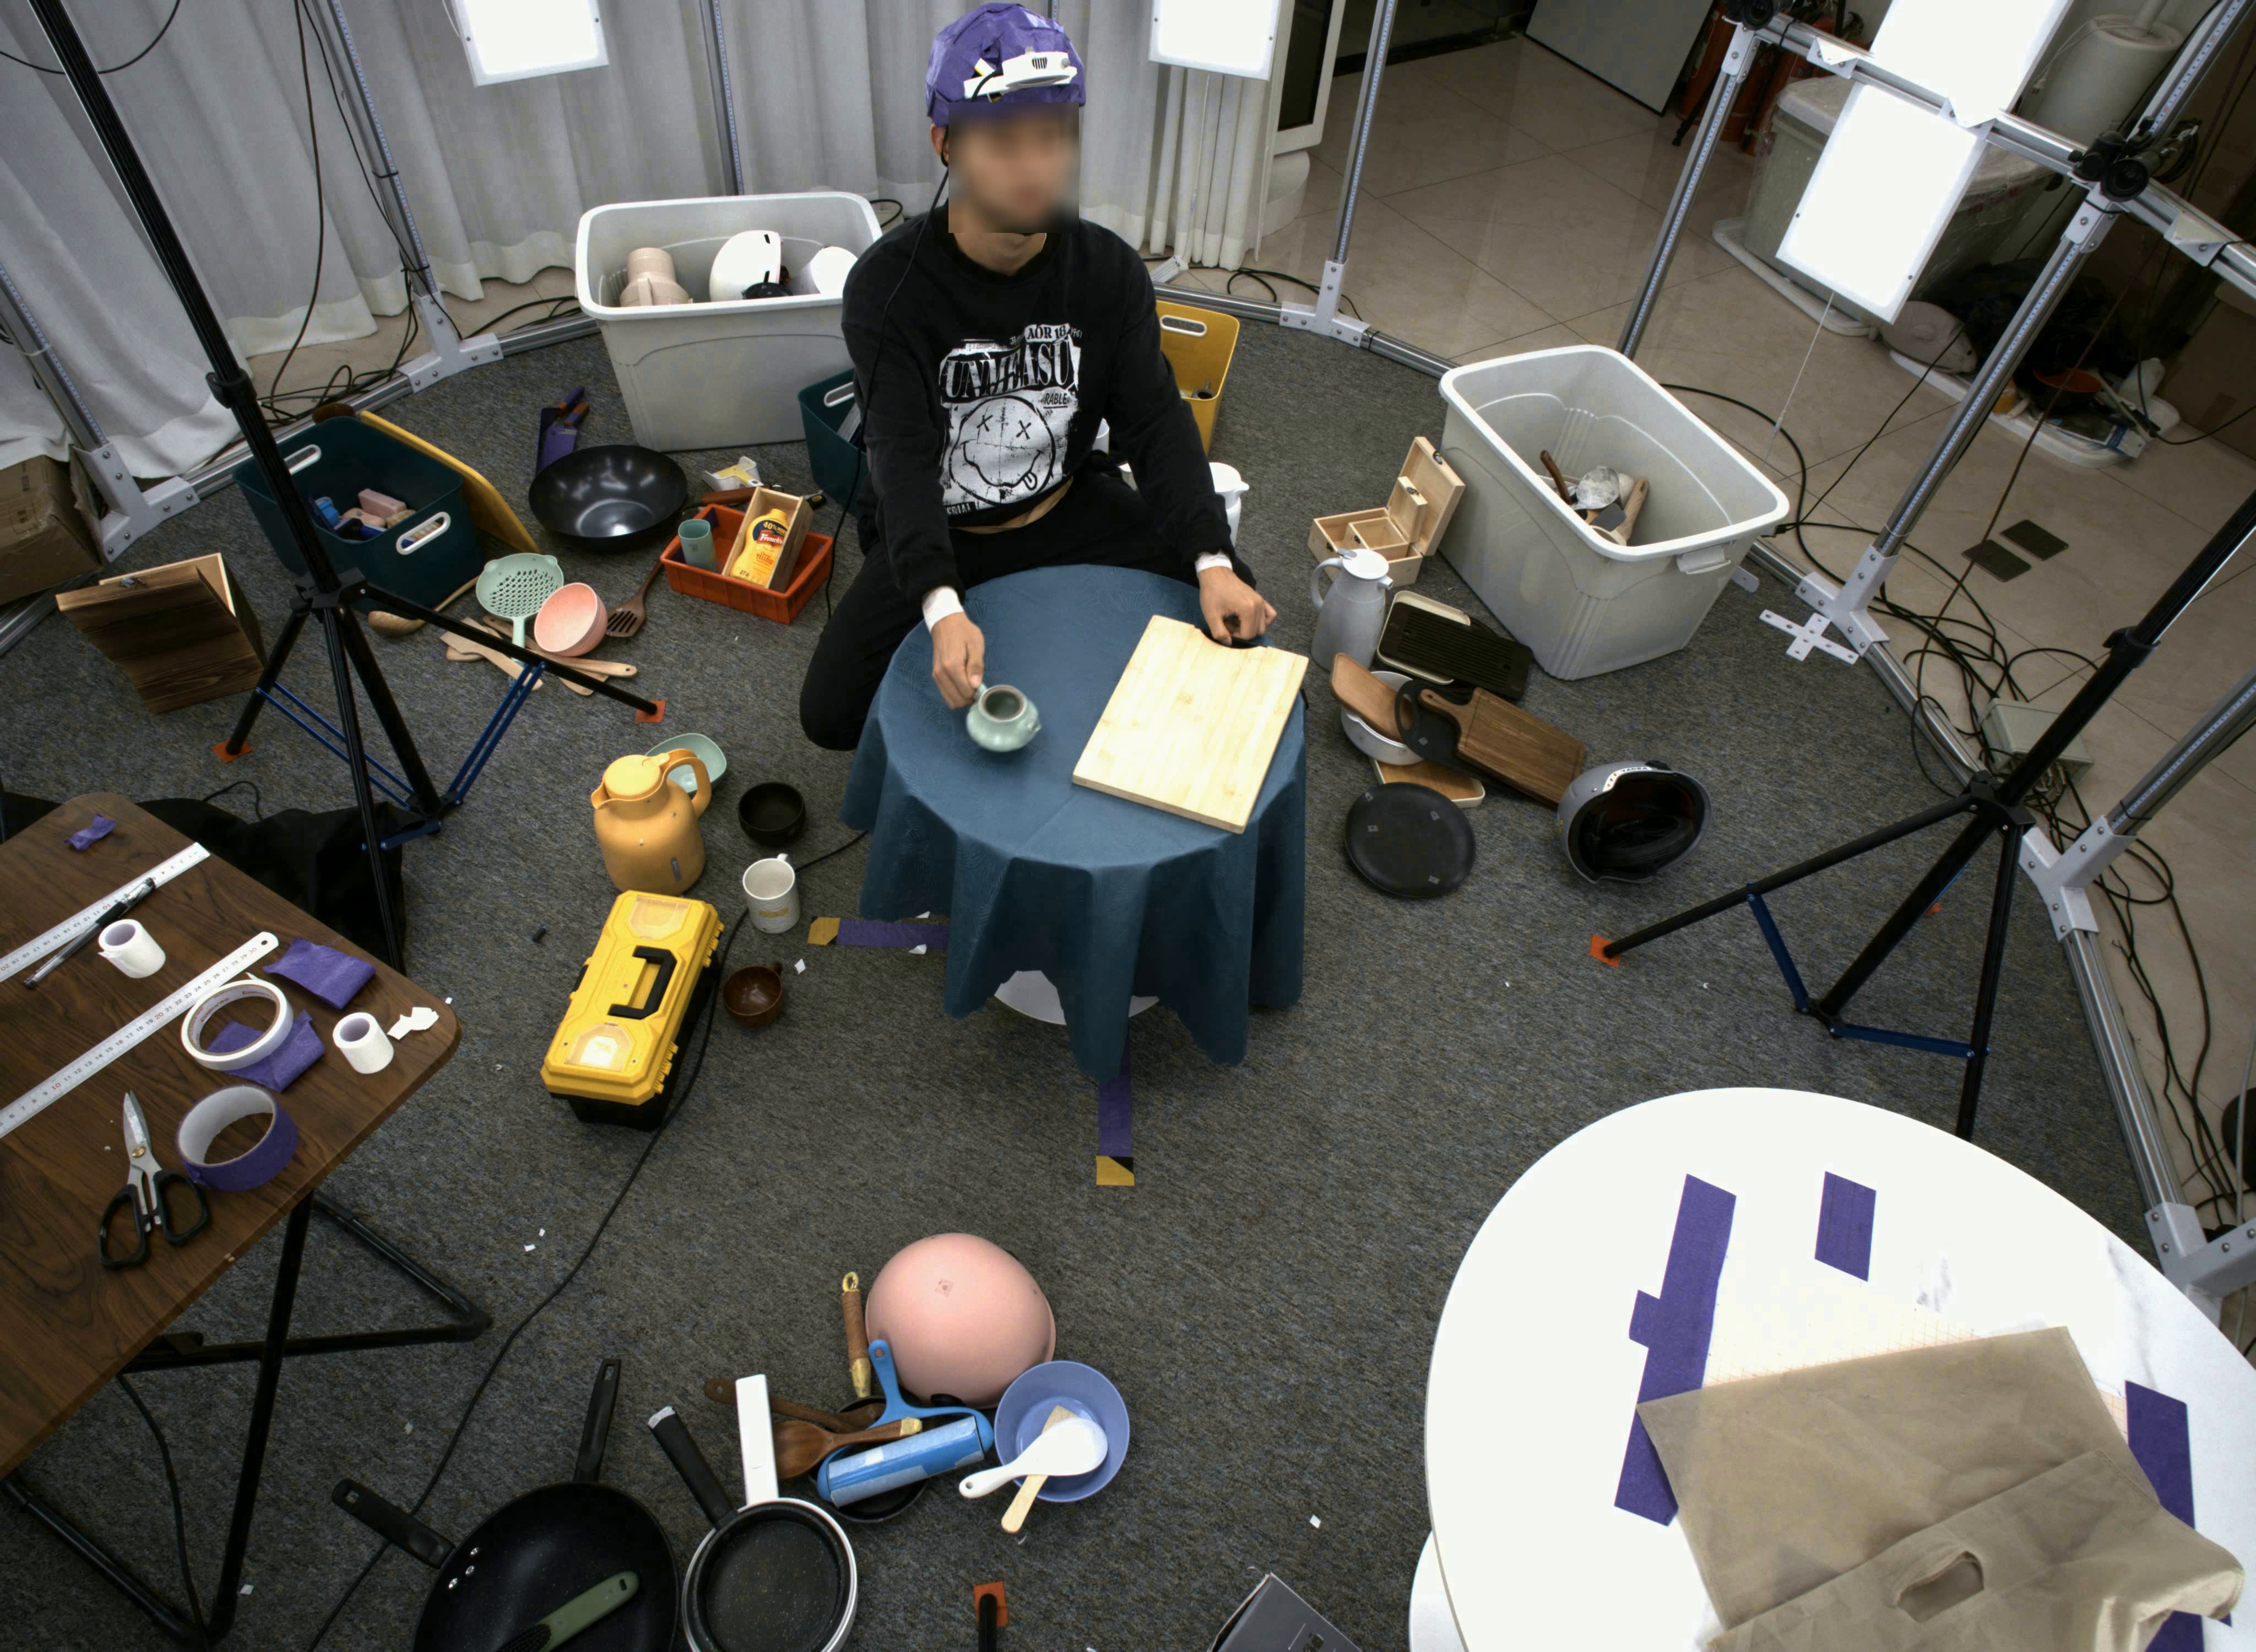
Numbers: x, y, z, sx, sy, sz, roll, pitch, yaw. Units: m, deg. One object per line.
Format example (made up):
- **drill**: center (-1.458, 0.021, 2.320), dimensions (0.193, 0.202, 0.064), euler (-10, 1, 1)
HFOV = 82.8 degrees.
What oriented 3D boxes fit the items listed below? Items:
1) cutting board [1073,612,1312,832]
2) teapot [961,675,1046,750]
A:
- **cutting board**: center (0.096, -0.155, 1.794), dimensions (0.251, 0.023, 0.356), euler (16, 51, 10)
- **teapot**: center (-0.167, -0.154, 1.718), dimensions (0.138, 0.060, 0.097), euler (34, 62, 16)
